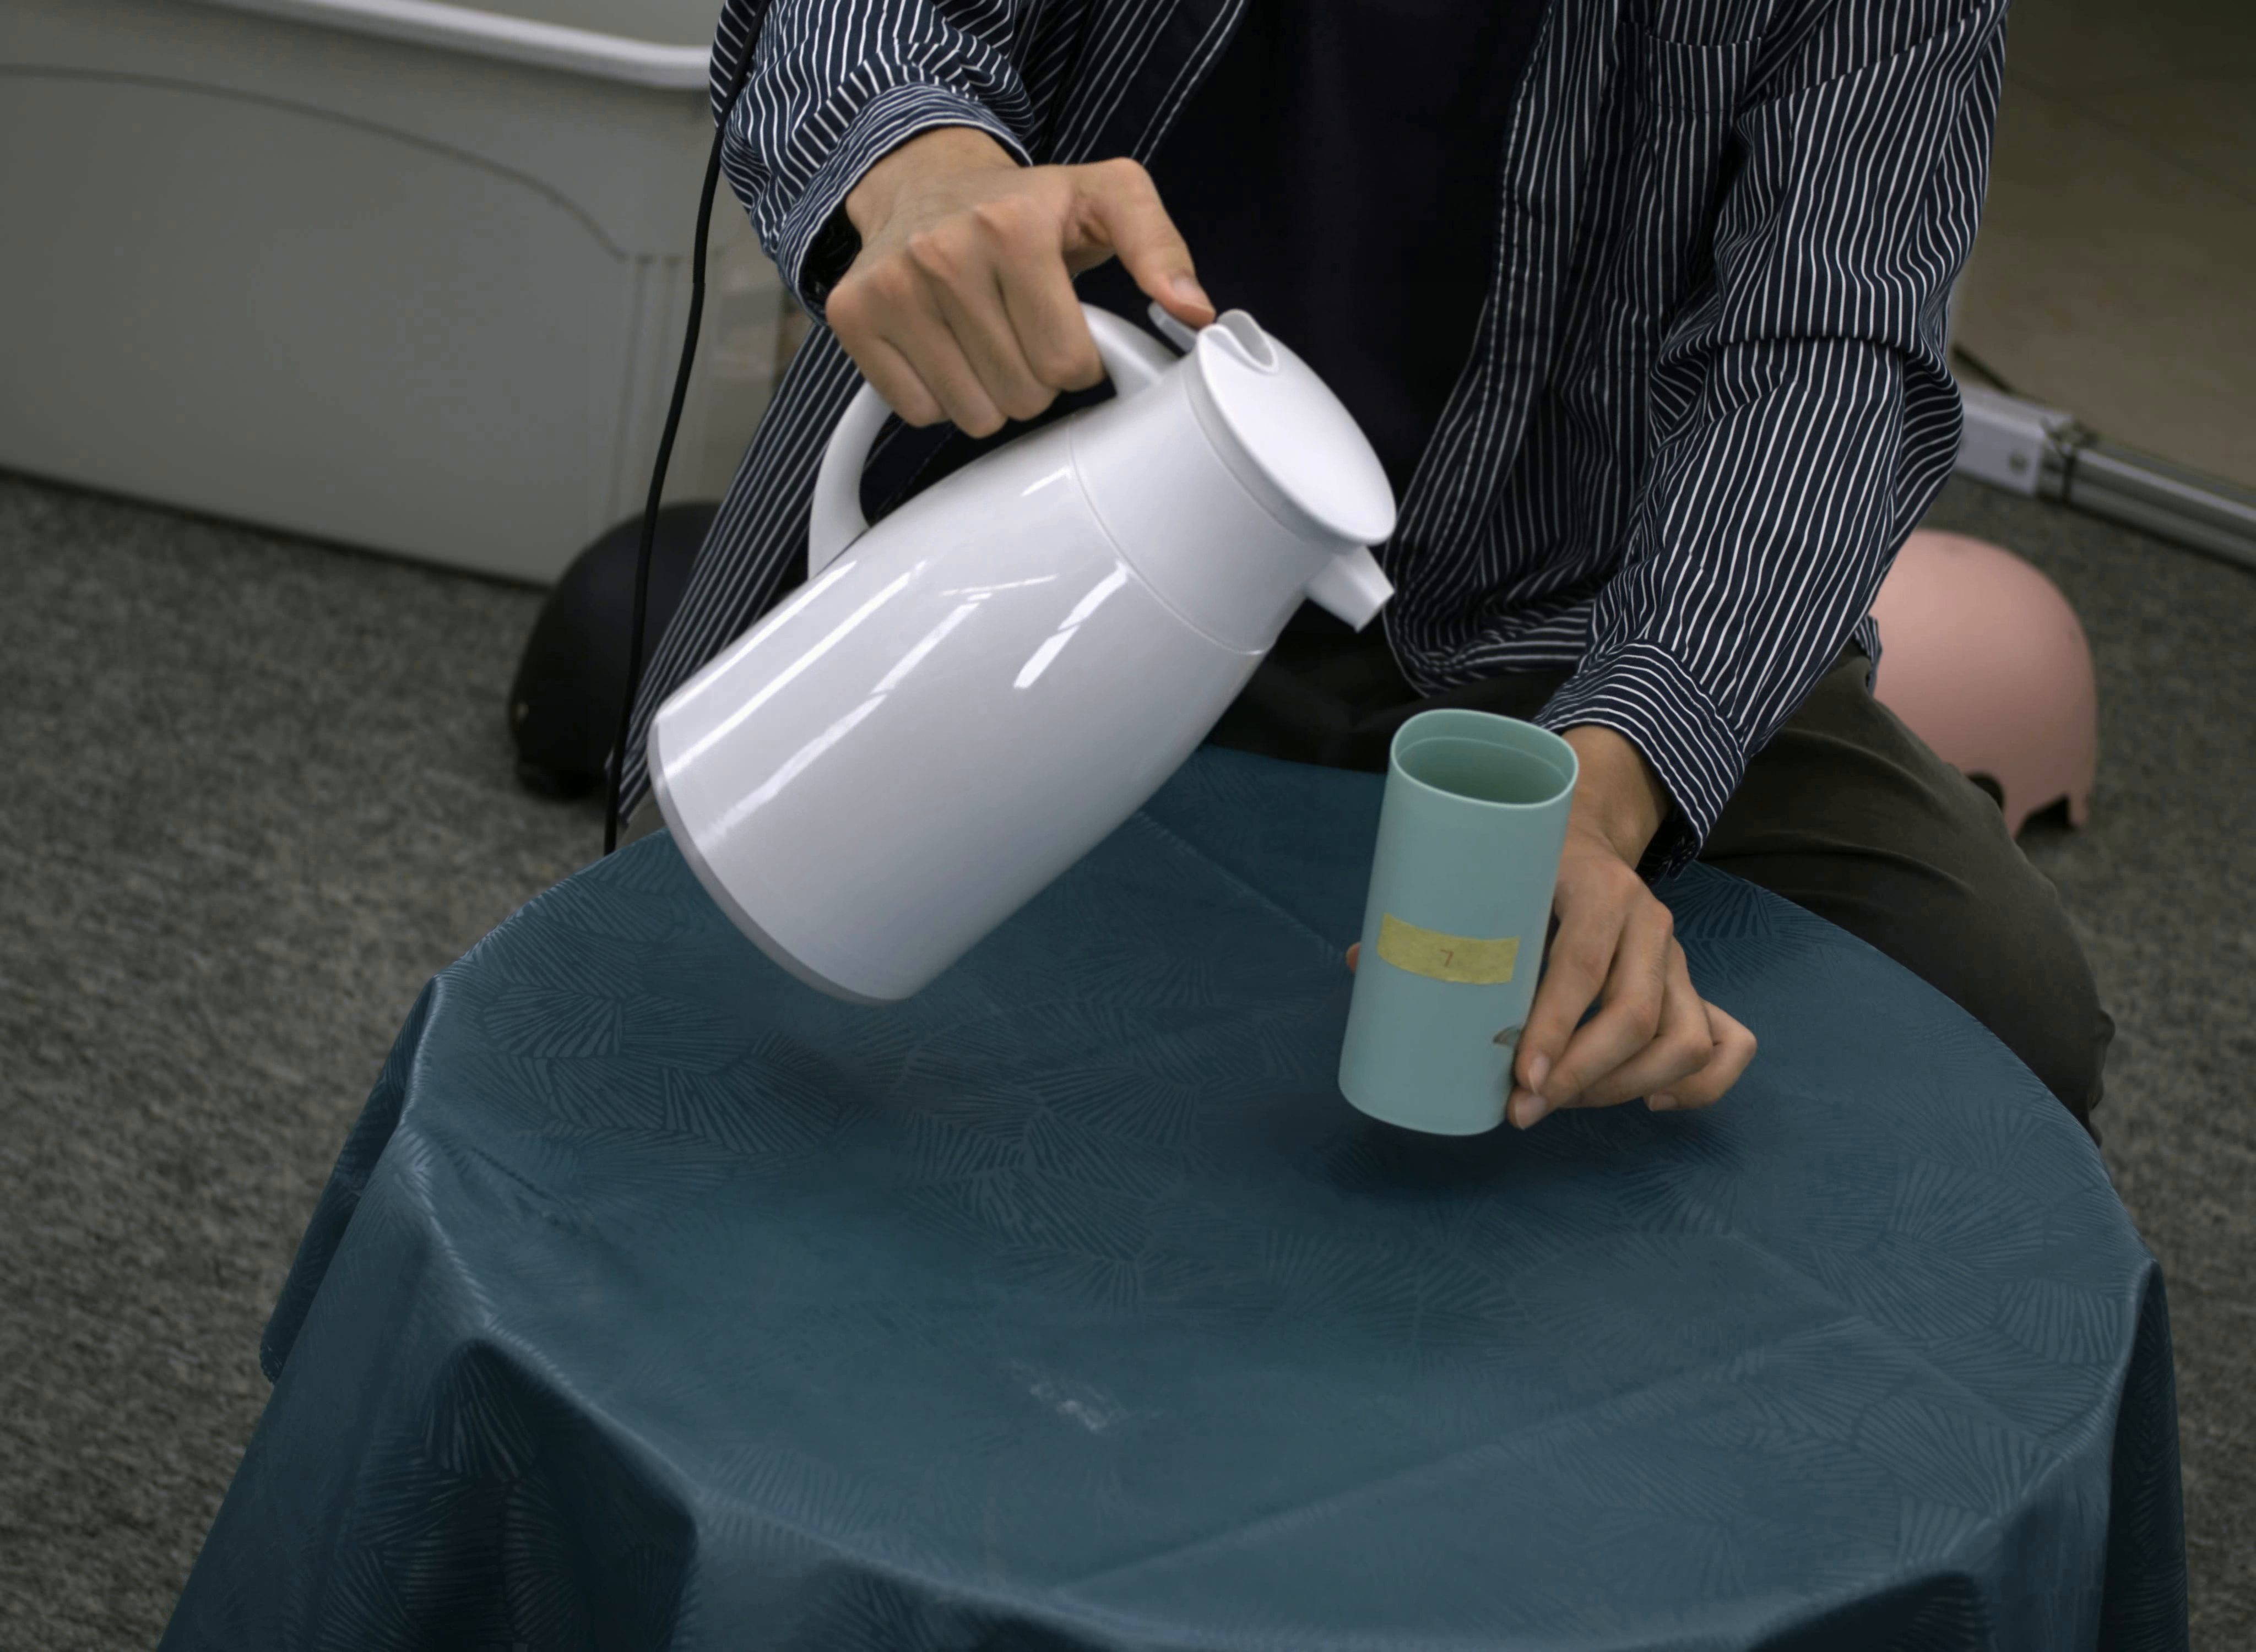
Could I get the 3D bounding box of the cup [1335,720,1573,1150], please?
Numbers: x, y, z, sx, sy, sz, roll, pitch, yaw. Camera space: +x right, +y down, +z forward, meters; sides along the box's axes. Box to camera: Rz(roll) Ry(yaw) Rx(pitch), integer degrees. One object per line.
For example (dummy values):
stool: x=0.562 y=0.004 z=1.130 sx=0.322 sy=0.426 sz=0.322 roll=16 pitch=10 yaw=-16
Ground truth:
cup: x=0.109 y=0.036 z=1.792 sx=0.066 sy=0.132 sz=0.067 roll=5 pitch=28 yaw=-3

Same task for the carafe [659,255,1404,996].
carafe: x=-0.038 y=-0.081 z=1.756 sx=0.167 sy=0.248 sz=0.132 roll=49 pitch=25 yaw=-3
